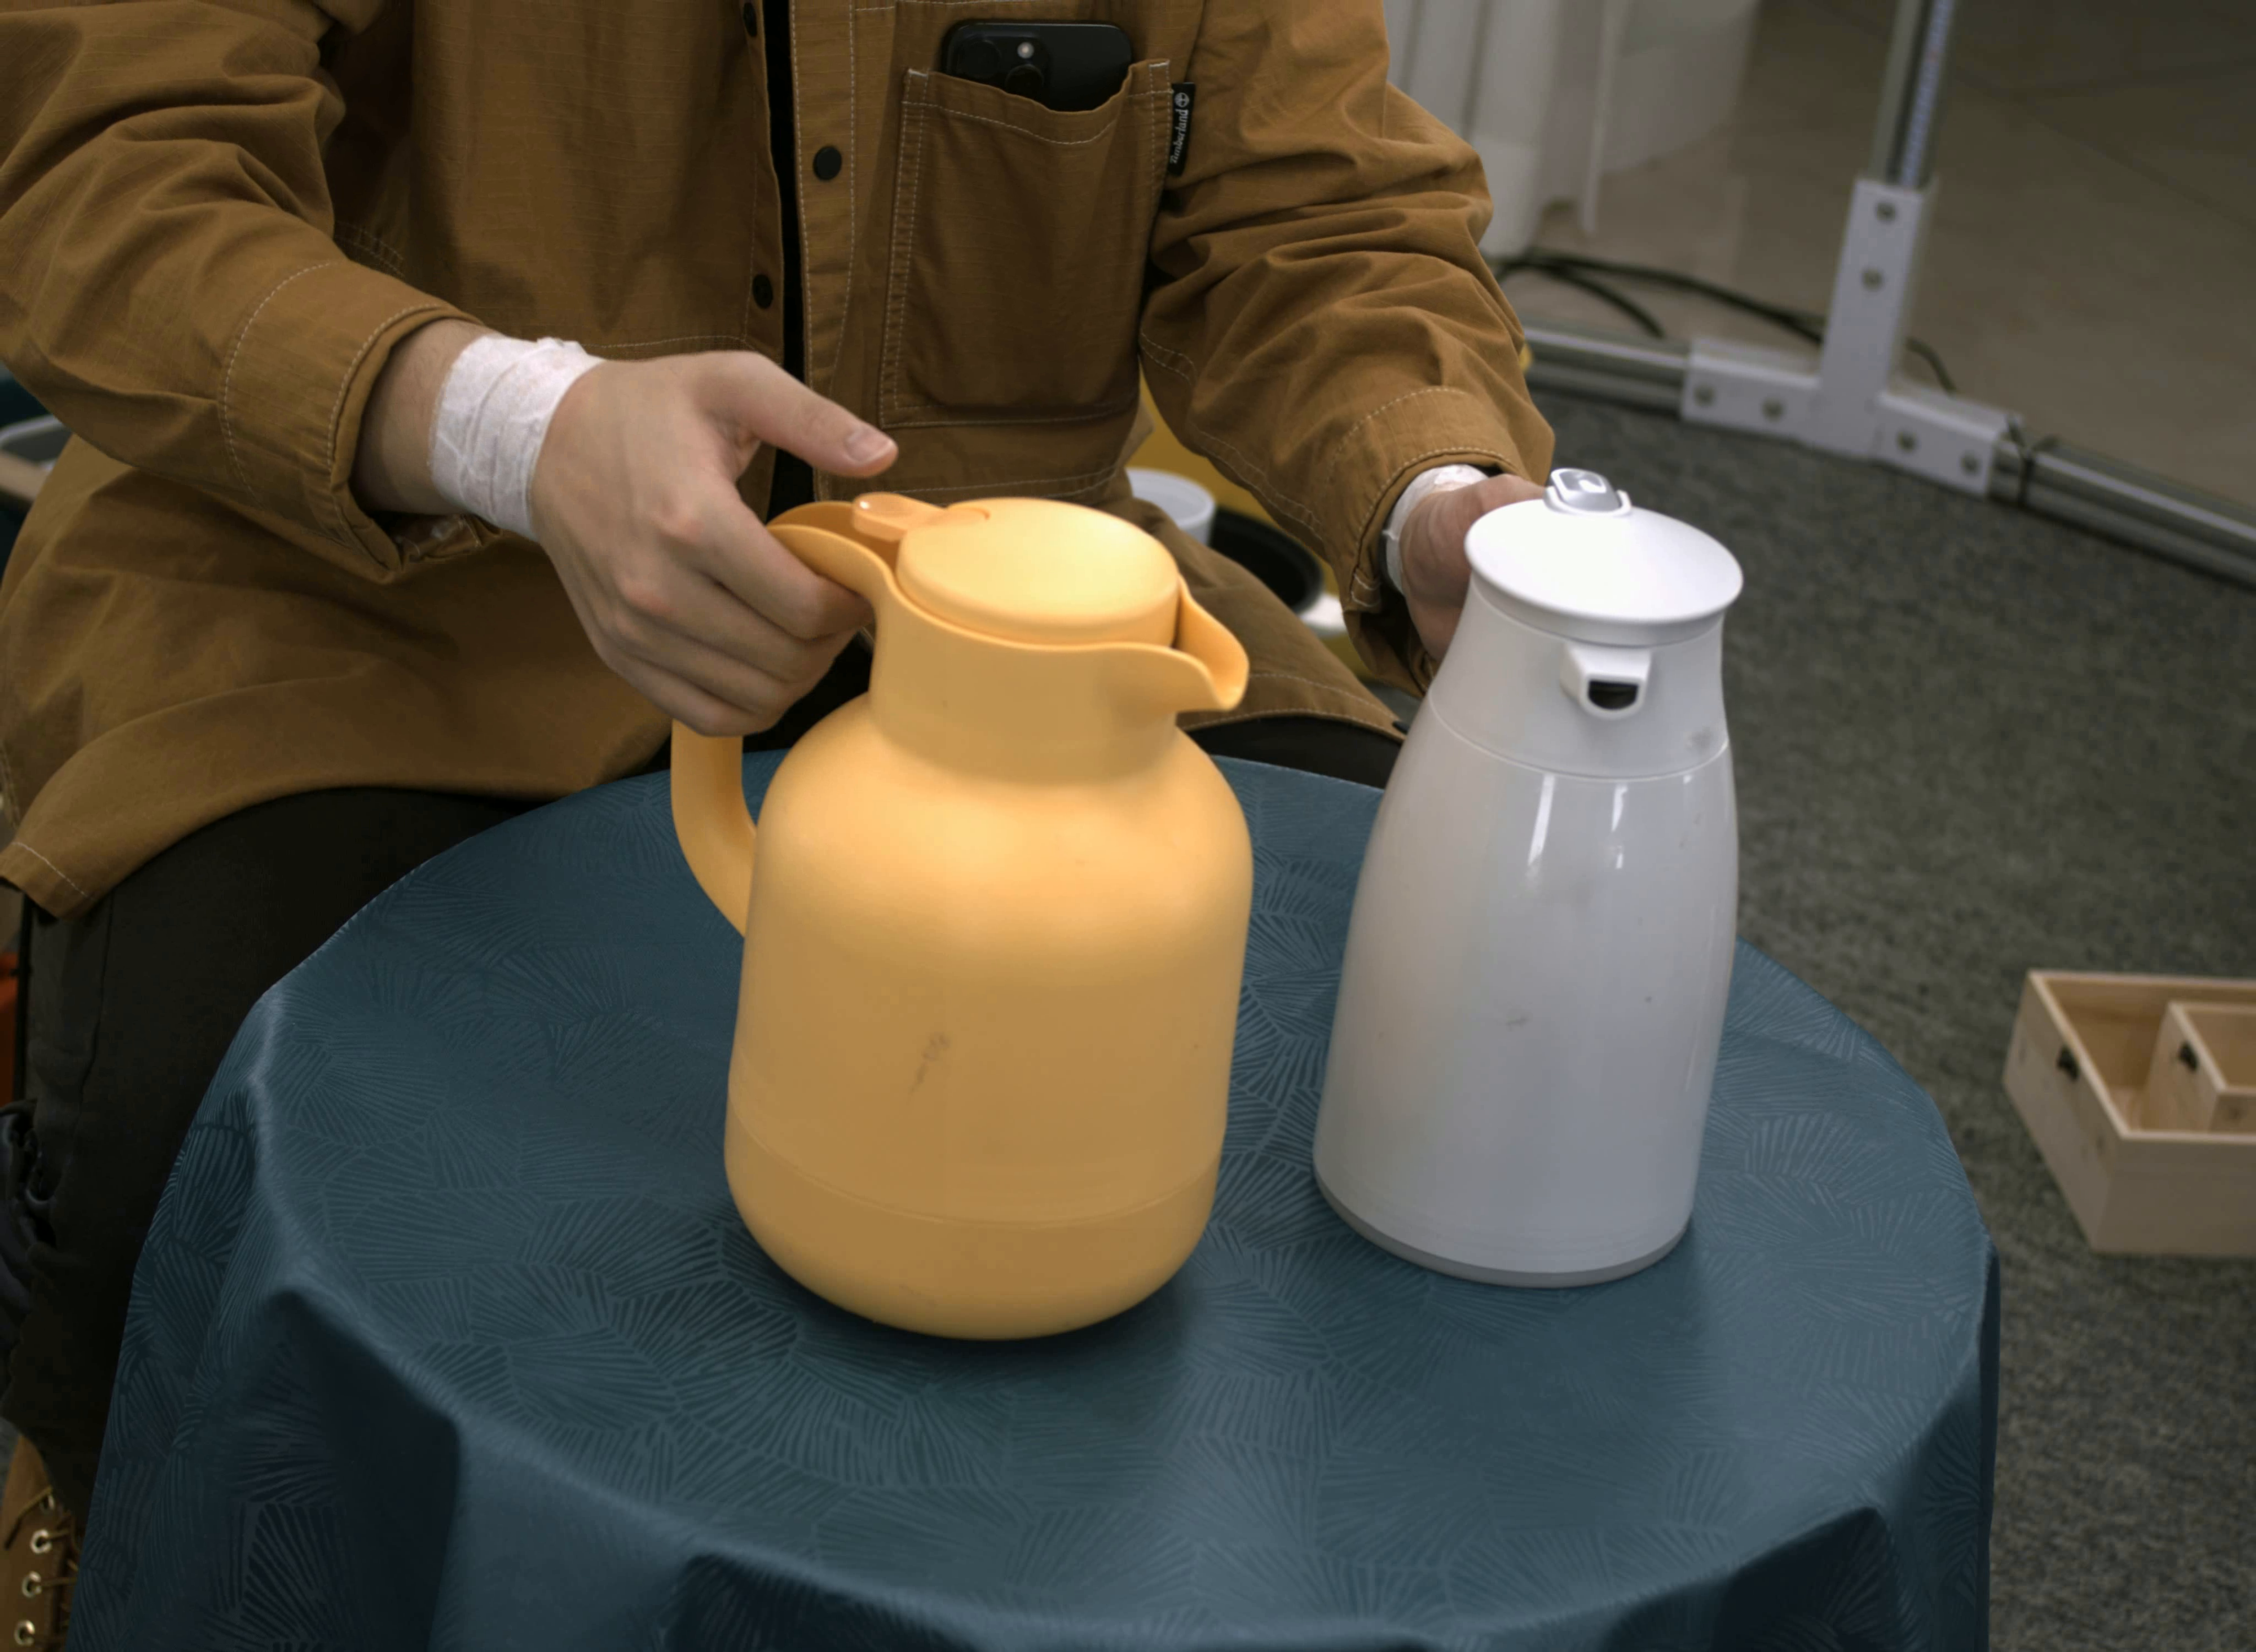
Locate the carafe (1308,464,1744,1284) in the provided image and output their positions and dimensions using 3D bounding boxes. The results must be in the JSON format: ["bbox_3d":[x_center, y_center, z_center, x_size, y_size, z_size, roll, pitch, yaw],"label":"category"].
[{"bbox_3d":[0.140,0.005,1.795,0.132,0.248,0.169,5,26,-4],"label":"carafe"}]

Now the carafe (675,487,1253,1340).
[{"bbox_3d":[-0.058,0.018,1.715,0.203,0.260,0.163,22,28,25],"label":"carafe"}]
